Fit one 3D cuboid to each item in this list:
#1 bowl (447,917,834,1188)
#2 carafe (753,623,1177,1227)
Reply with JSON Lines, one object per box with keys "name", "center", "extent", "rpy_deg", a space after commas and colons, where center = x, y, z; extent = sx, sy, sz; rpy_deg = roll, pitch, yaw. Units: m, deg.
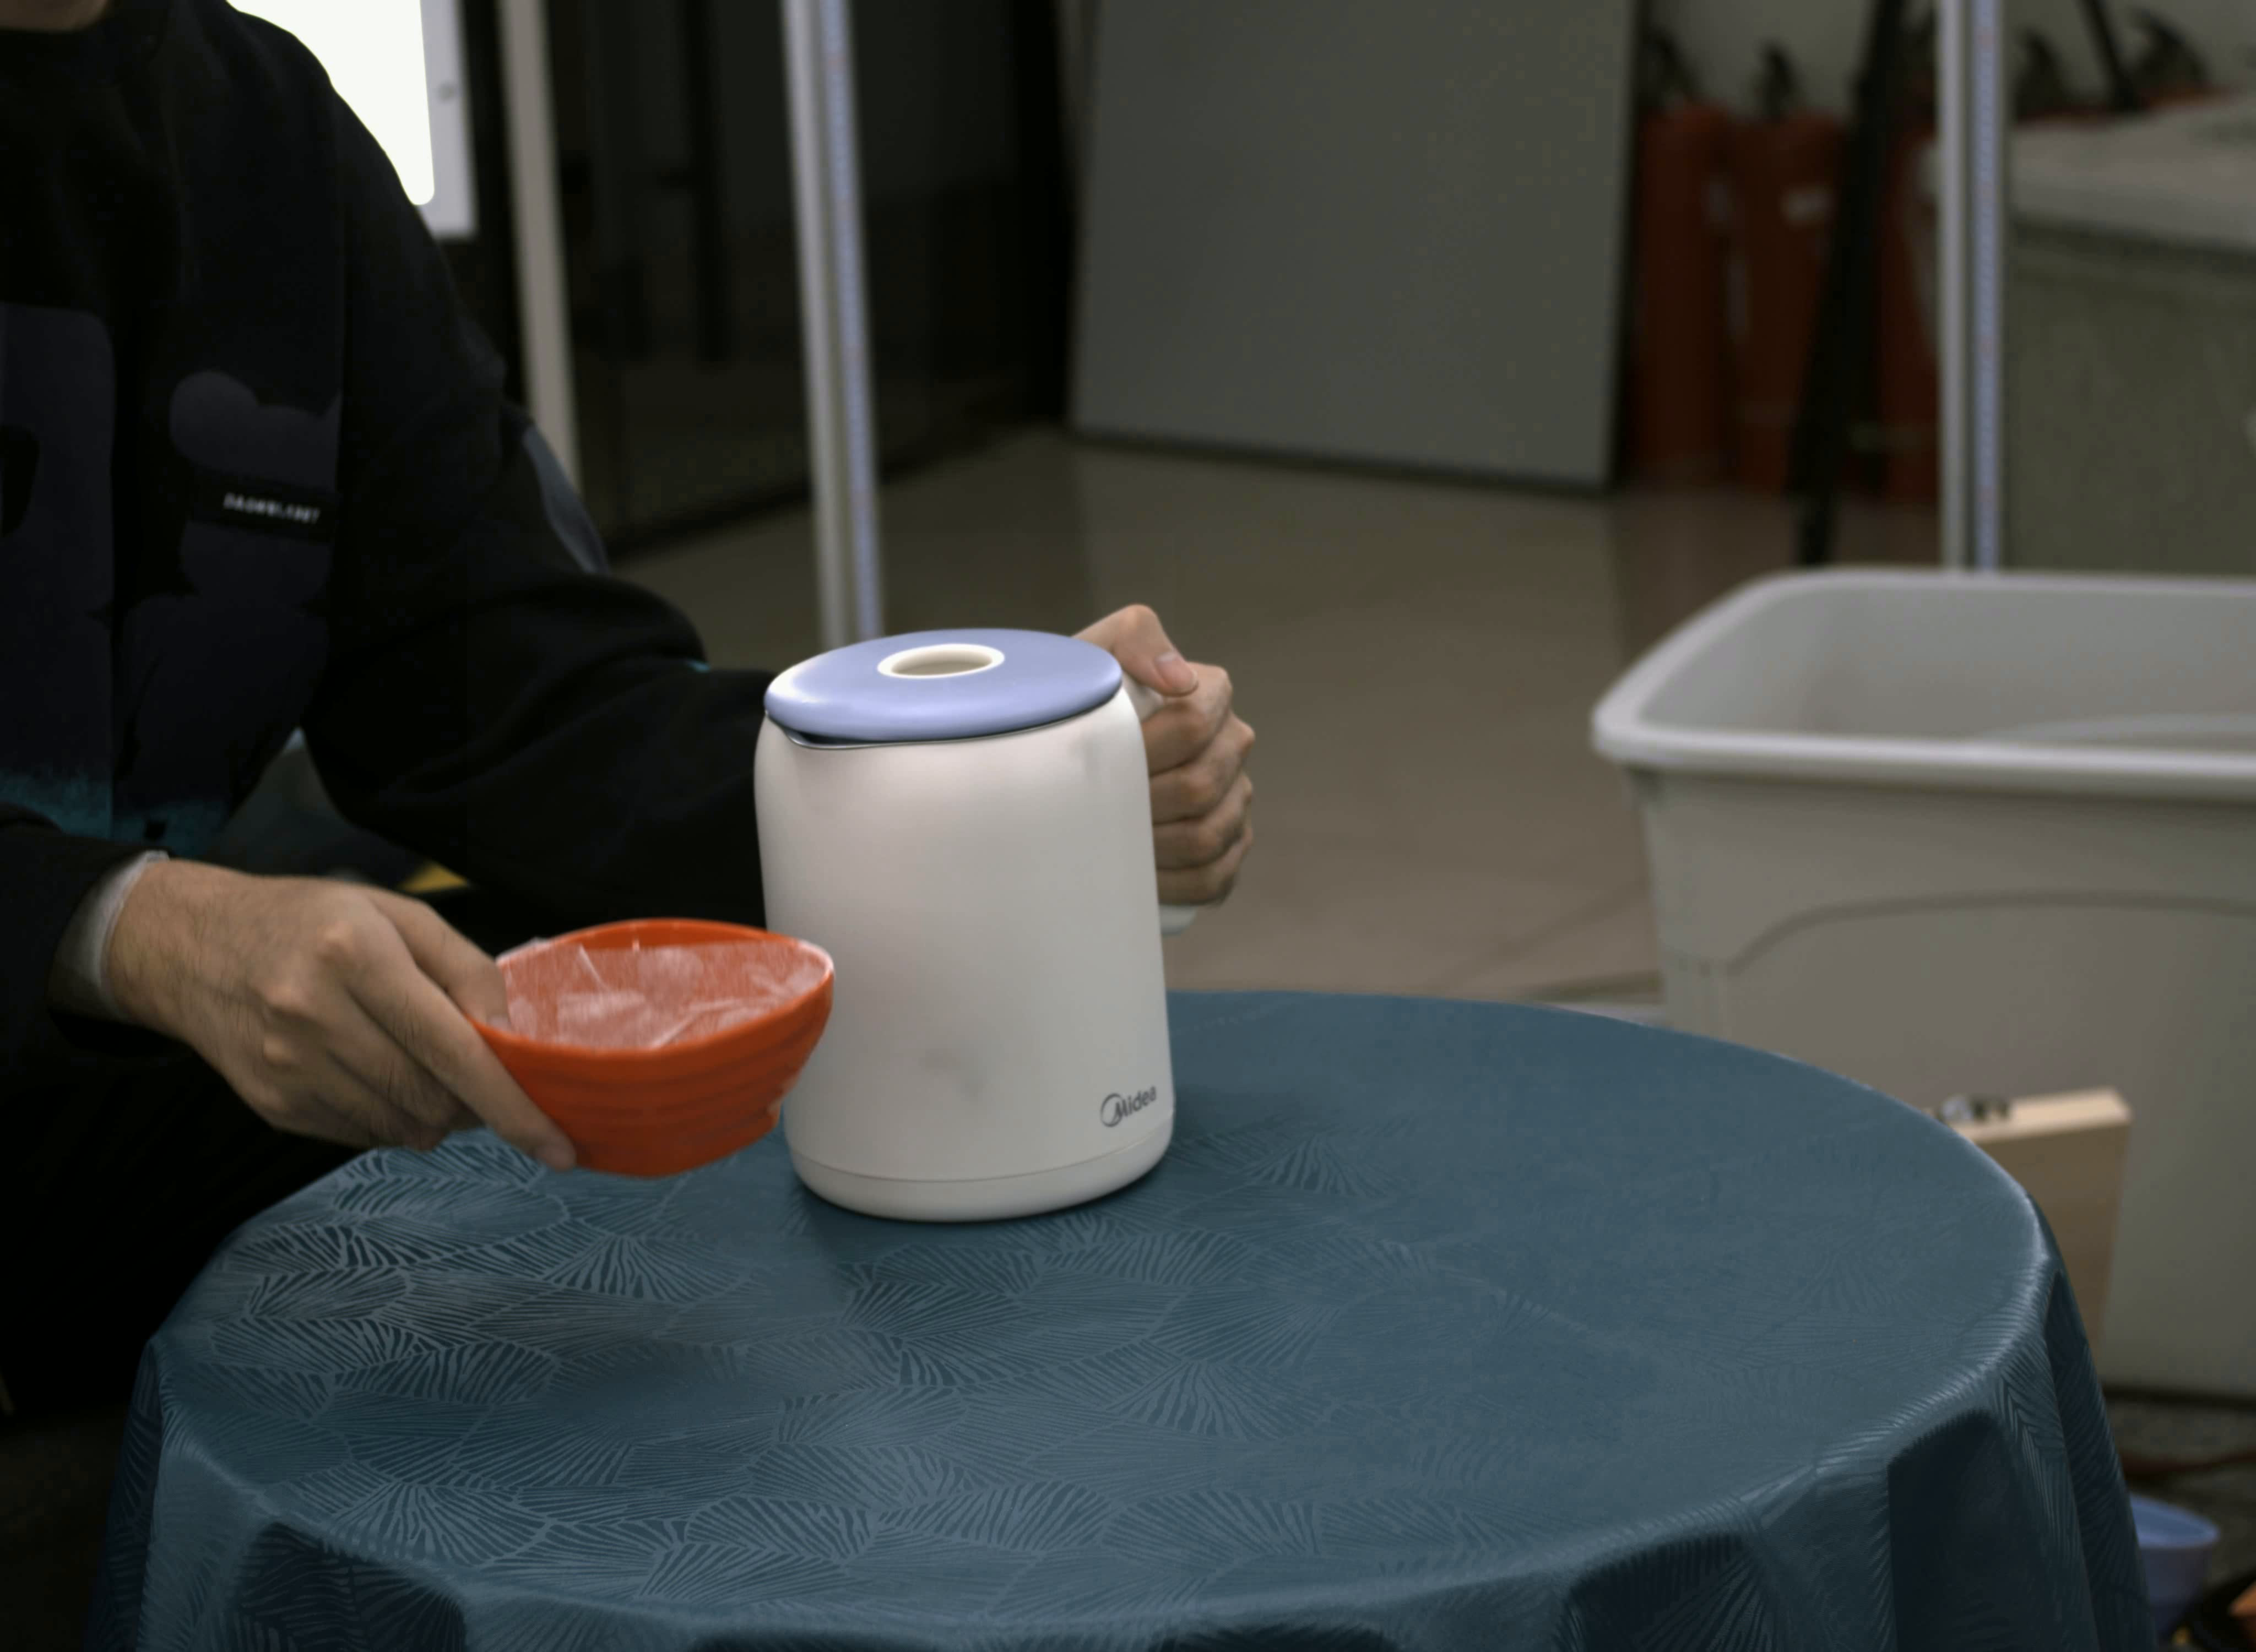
{"name": "bowl", "center": [-0.146, 0.071, 1.648], "extent": [0.117, 0.052, 0.119], "rpy_deg": [-4, 20, 0]}
{"name": "carafe", "center": [-0.041, 0.026, 1.802], "extent": [0.133, 0.184, 0.187], "rpy_deg": [8, 17, 35]}
